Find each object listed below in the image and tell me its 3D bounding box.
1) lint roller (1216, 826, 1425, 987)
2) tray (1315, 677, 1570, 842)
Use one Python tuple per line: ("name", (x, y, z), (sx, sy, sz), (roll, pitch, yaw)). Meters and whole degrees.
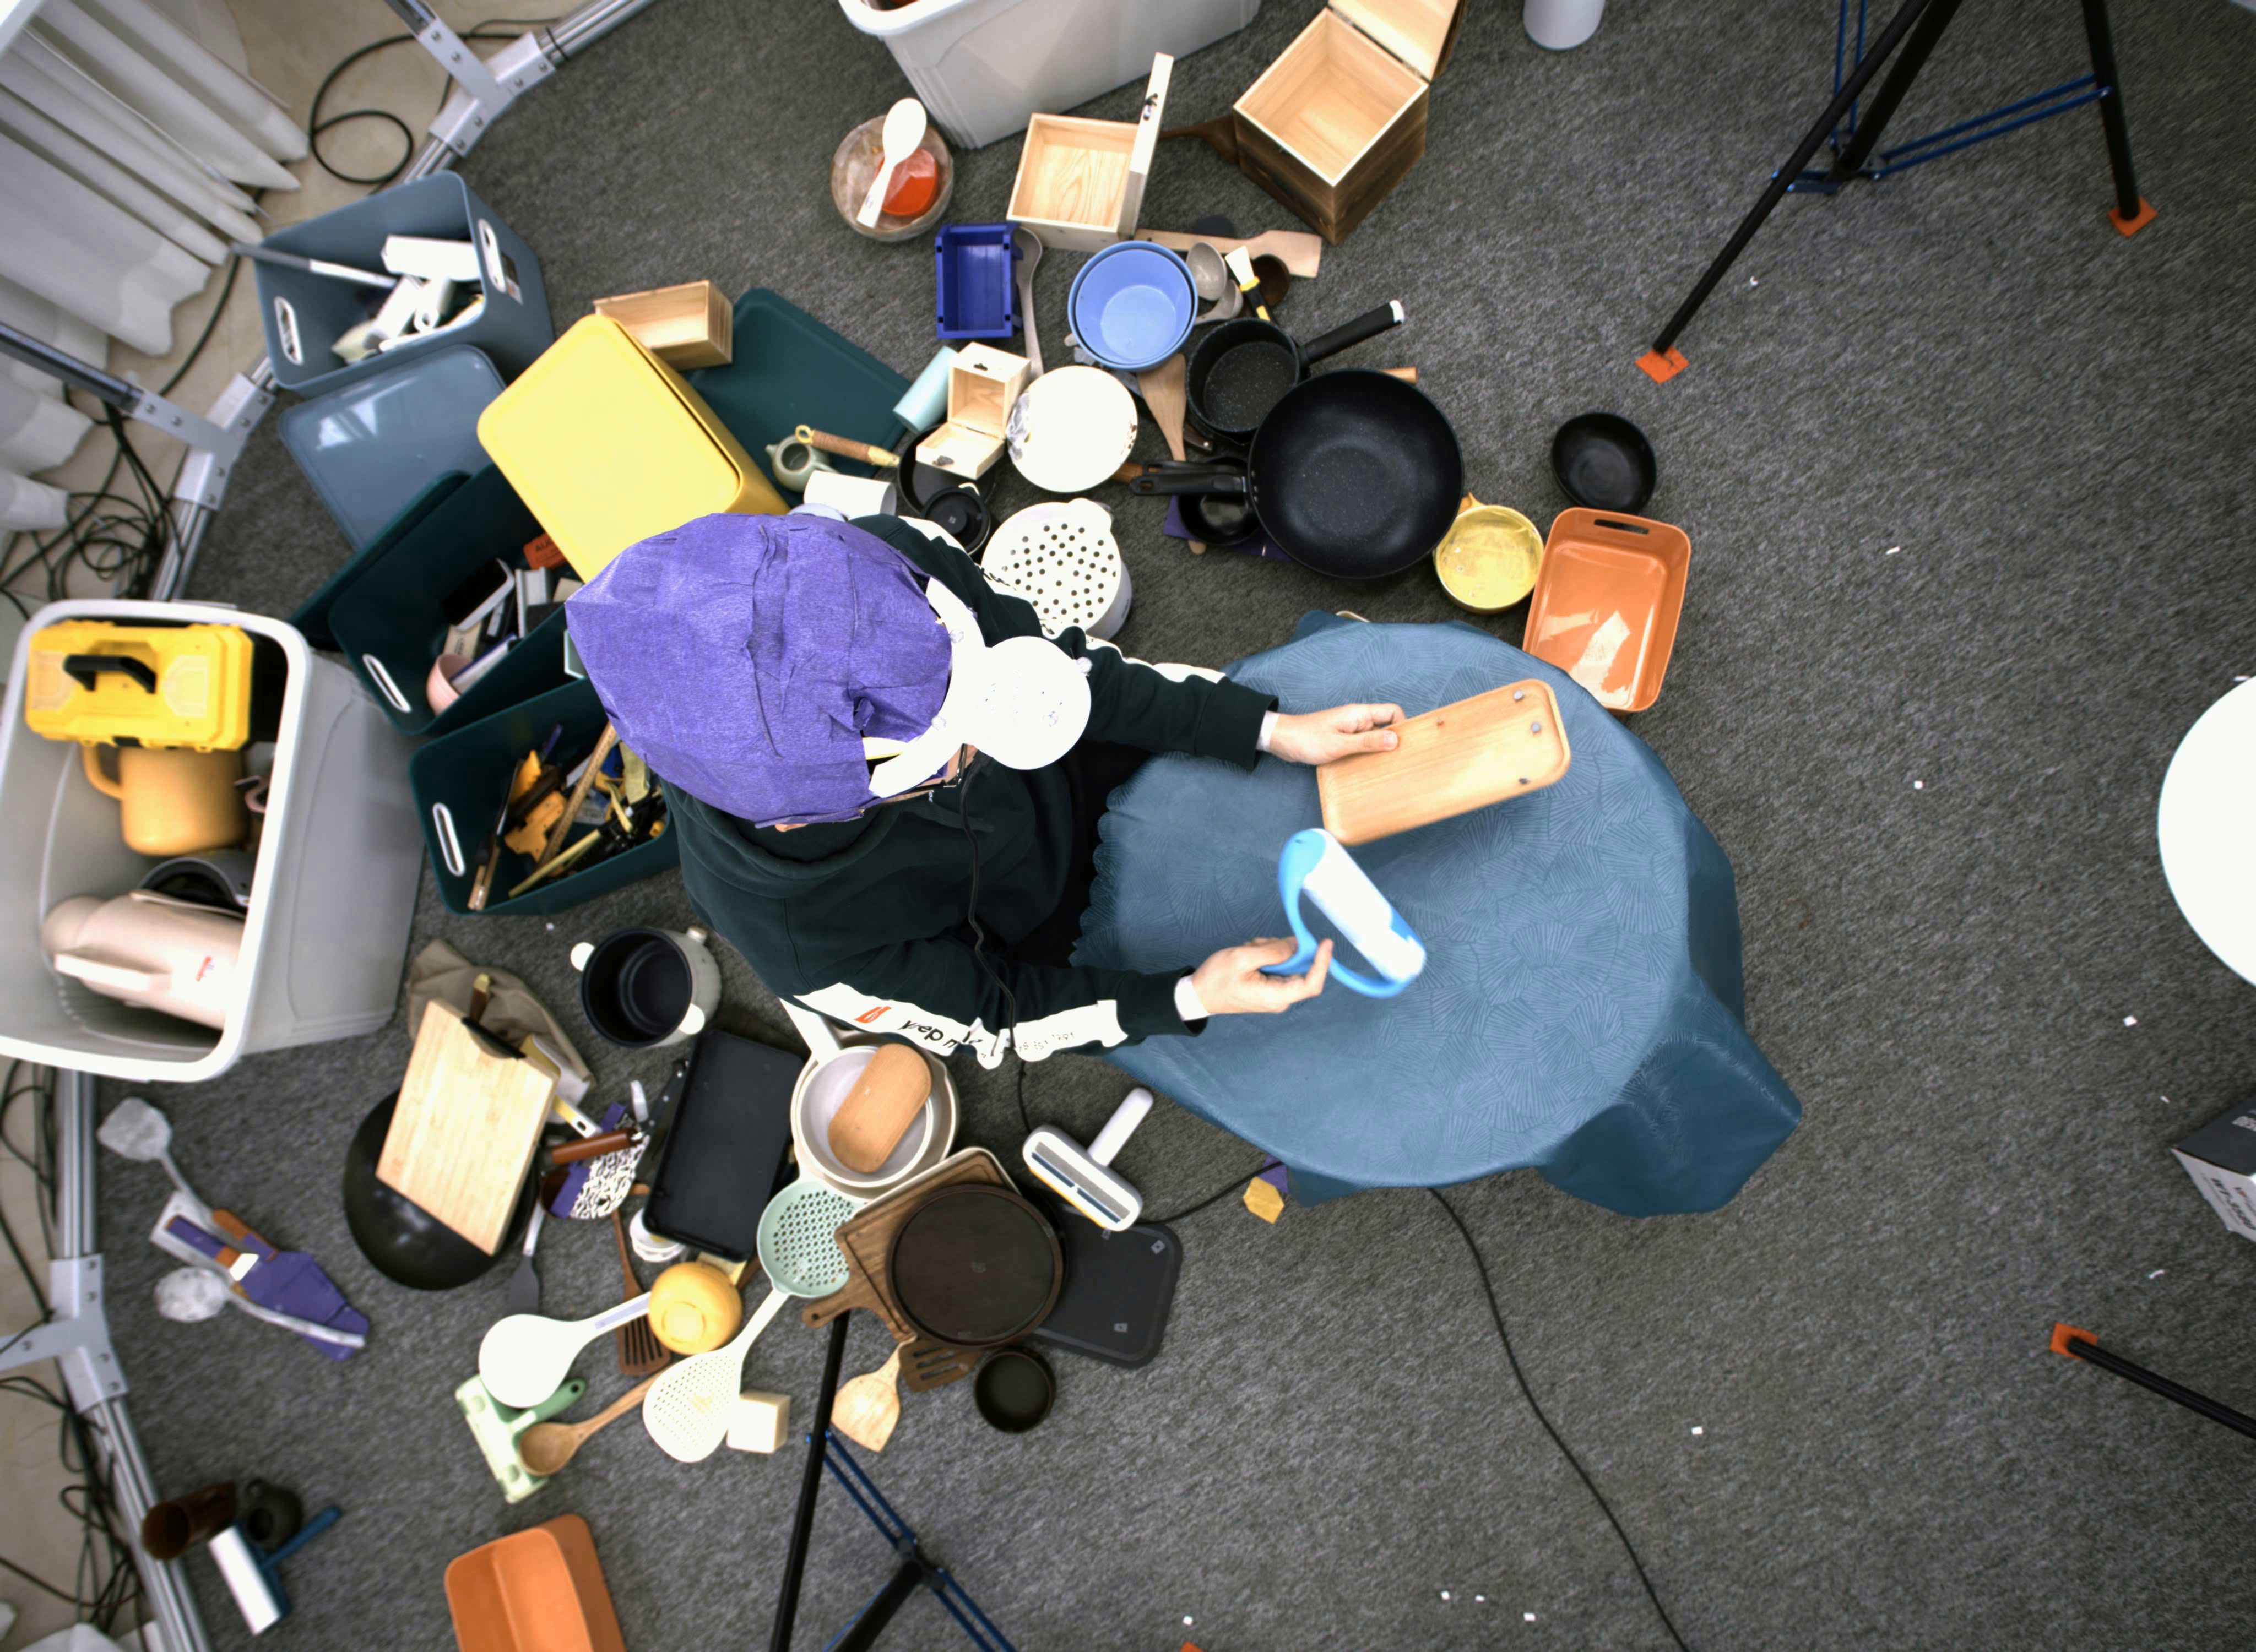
("lint roller", (0.167, 0.104, 1.319), (0.183, 0.231, 0.066), (-35, 43, 20))
("tray", (0.307, -0.066, 1.360), (0.254, 0.023, 0.127), (-19, 49, 24))
